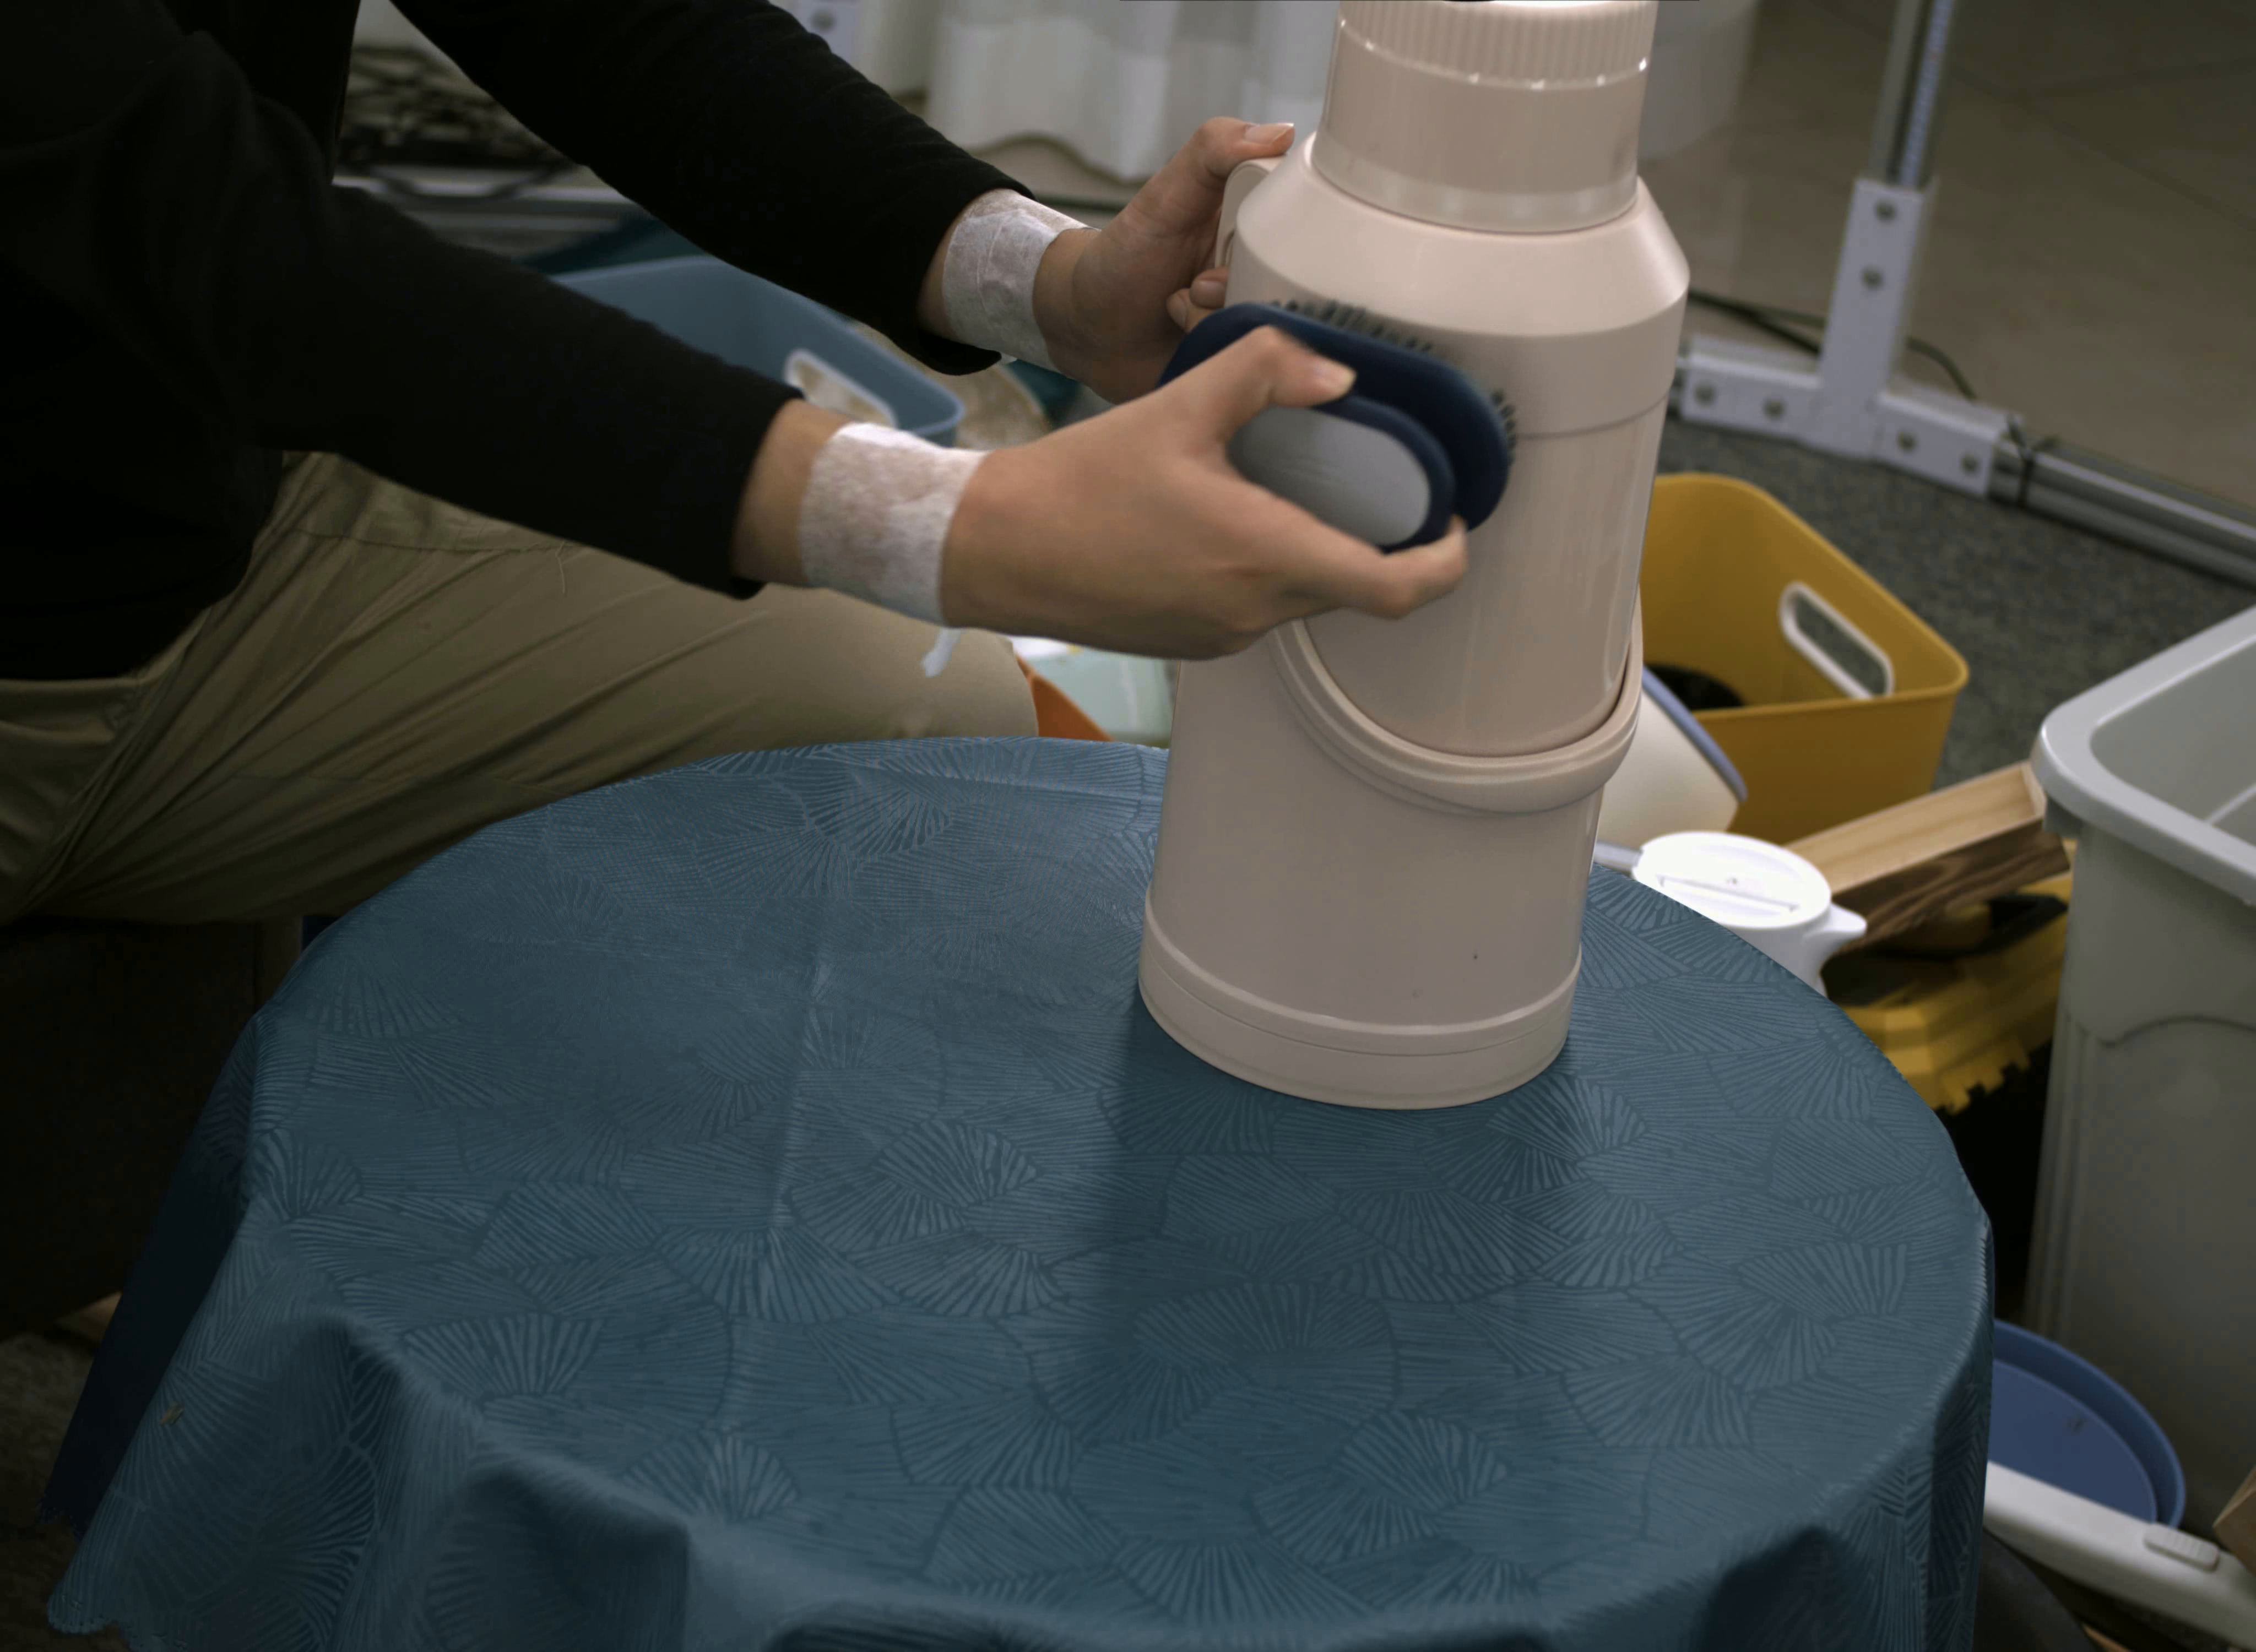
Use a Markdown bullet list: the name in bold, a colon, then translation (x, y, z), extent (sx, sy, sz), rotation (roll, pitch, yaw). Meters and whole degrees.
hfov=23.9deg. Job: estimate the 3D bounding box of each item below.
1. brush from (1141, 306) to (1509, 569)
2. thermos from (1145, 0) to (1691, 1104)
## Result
- **brush**: translation (0.065, -0.129, 1.730), extent (0.122, 0.067, 0.061), rotation (23, 39, 25)
- **thermos**: translation (0.097, -0.119, 1.863), extent (0.174, 0.405, 0.209), rotation (-15, 34, -34)
